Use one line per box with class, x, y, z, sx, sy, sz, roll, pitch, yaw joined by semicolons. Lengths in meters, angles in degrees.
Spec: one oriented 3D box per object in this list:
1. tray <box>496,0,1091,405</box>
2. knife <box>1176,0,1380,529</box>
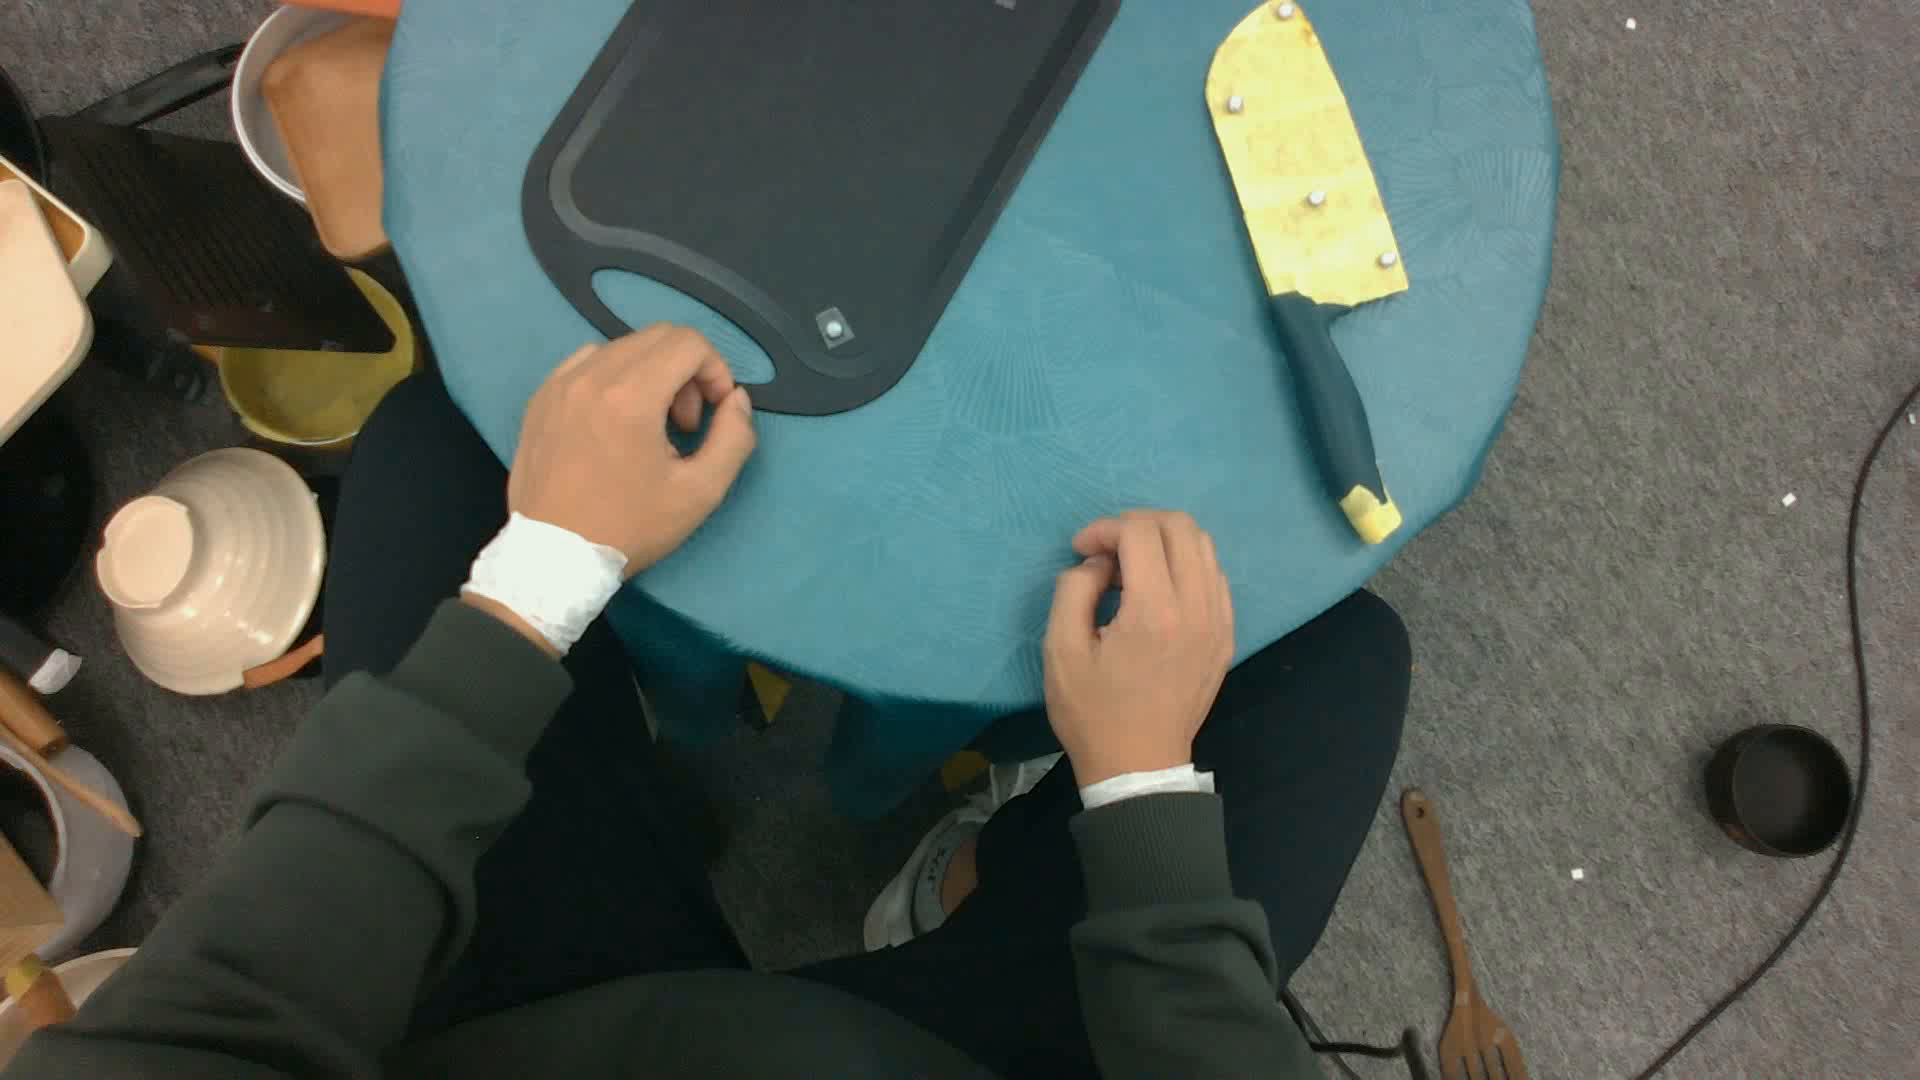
tray;-0.080;-0.227;0.691;0.211;0.010;0.326;30;79;-2
knife;0.174;-0.148;0.708;0.081;0.027;0.290;-12;82;-8
